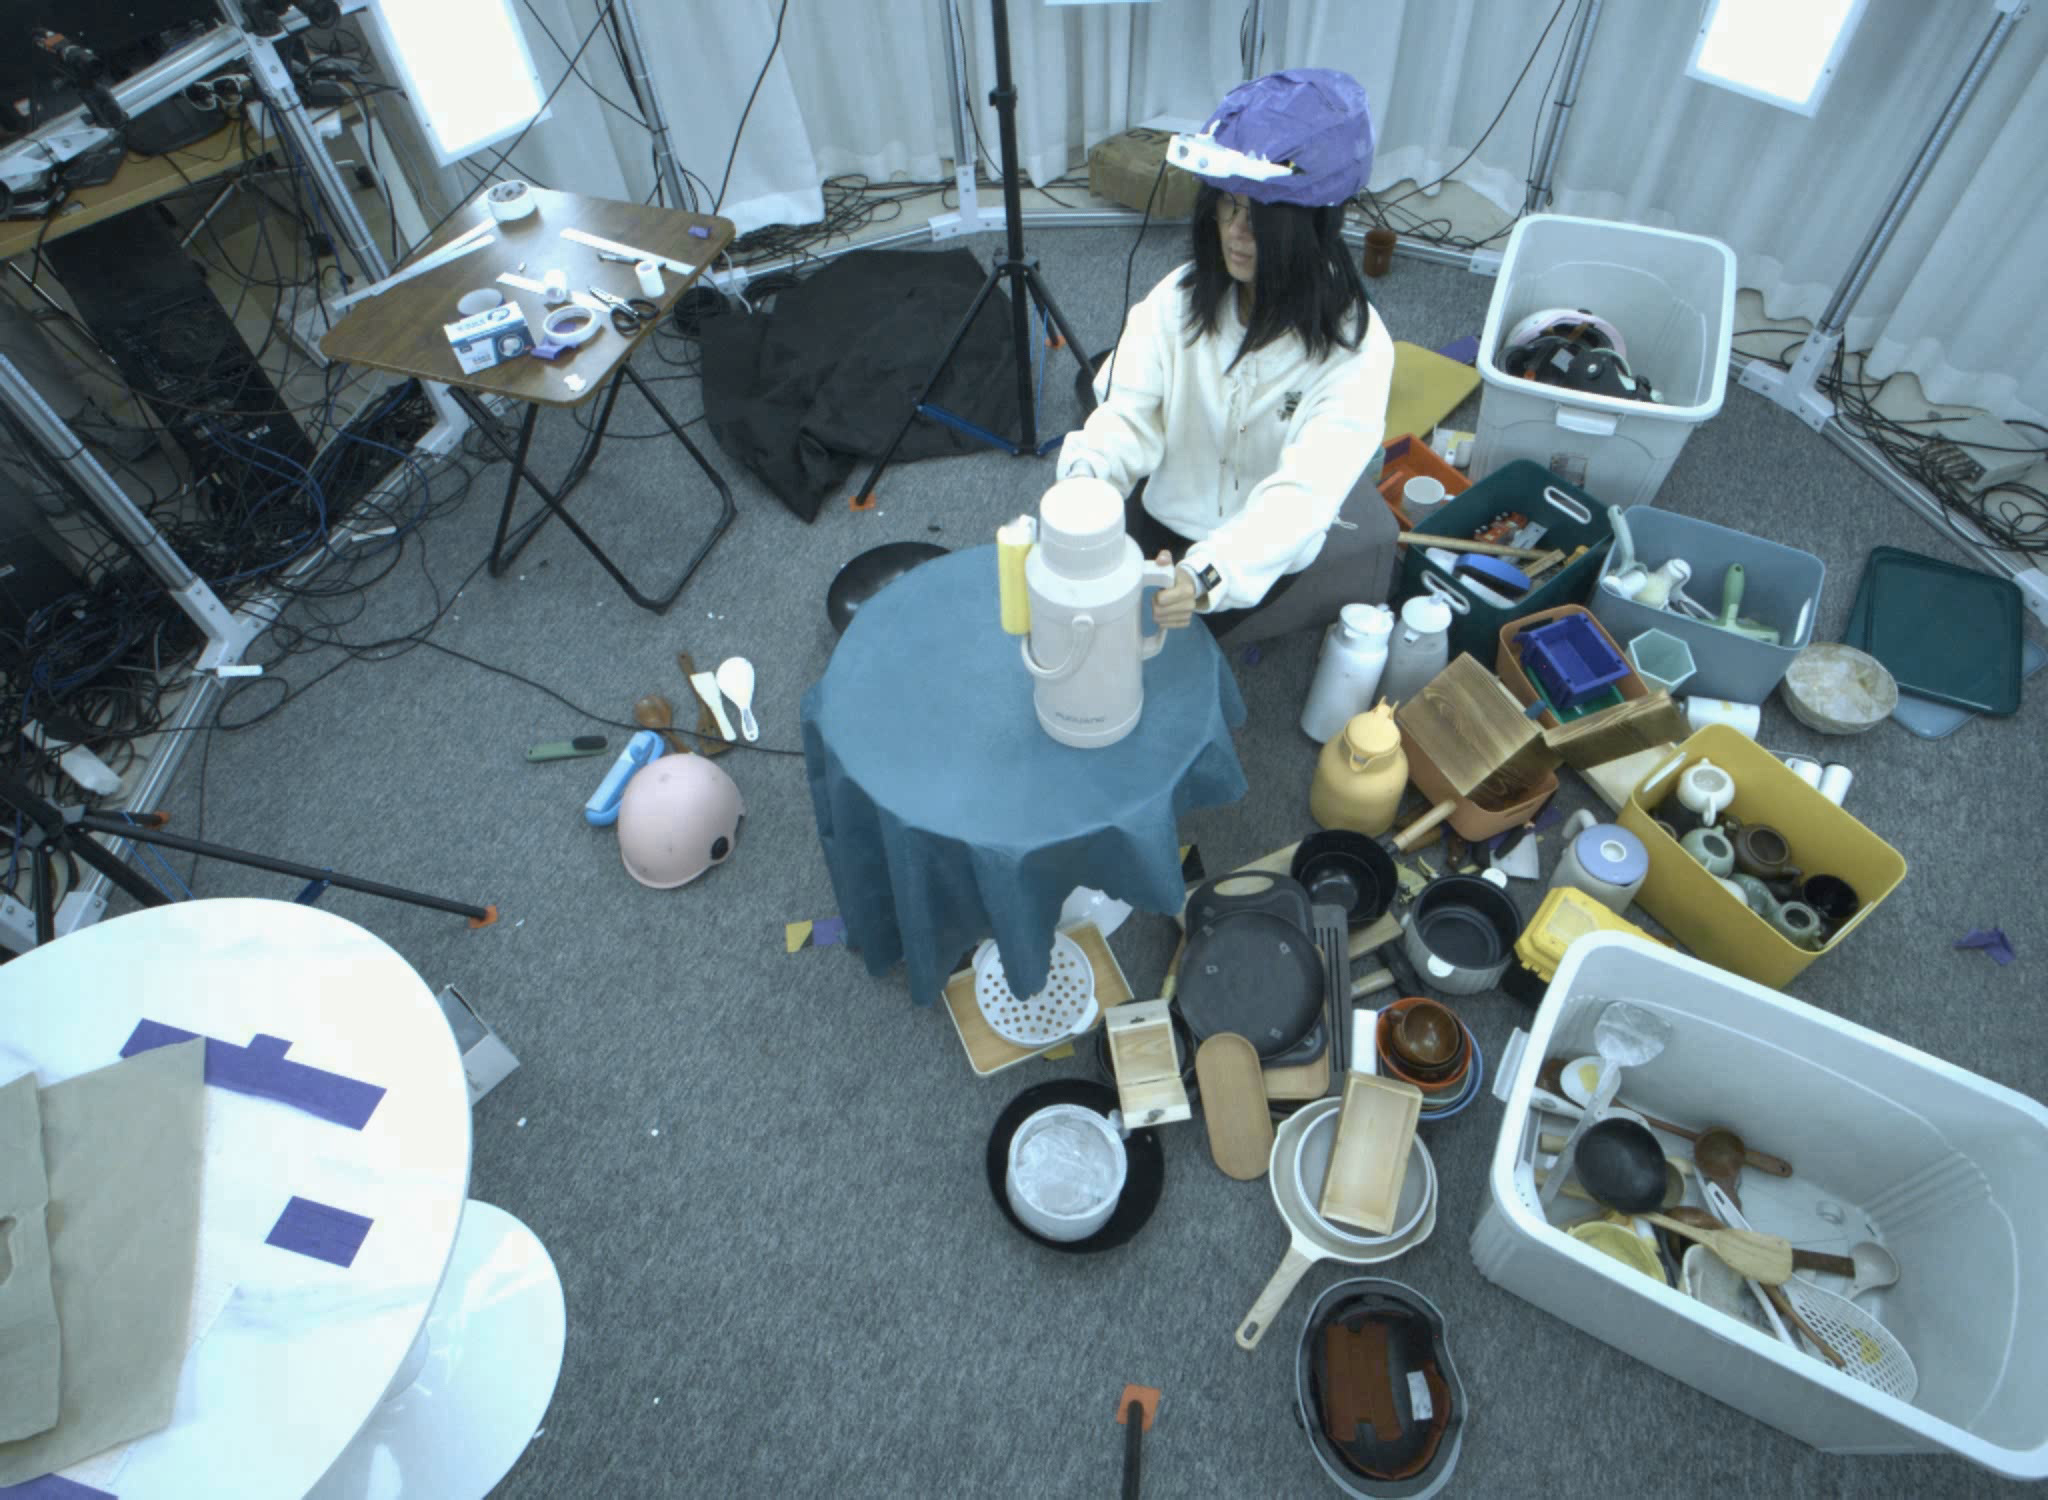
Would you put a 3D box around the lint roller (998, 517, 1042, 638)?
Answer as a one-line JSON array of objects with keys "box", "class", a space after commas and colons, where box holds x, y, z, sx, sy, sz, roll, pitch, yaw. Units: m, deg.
[{"box": [0.012, -0.278, 1.709, 0.051, 0.176, 0.191, 11, 49, 11], "class": "lint roller"}]

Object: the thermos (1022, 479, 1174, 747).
[{"box": [0.096, -0.181, 1.668, 0.207, 0.411, 0.173, 0, 54, 3], "class": "thermos"}]
